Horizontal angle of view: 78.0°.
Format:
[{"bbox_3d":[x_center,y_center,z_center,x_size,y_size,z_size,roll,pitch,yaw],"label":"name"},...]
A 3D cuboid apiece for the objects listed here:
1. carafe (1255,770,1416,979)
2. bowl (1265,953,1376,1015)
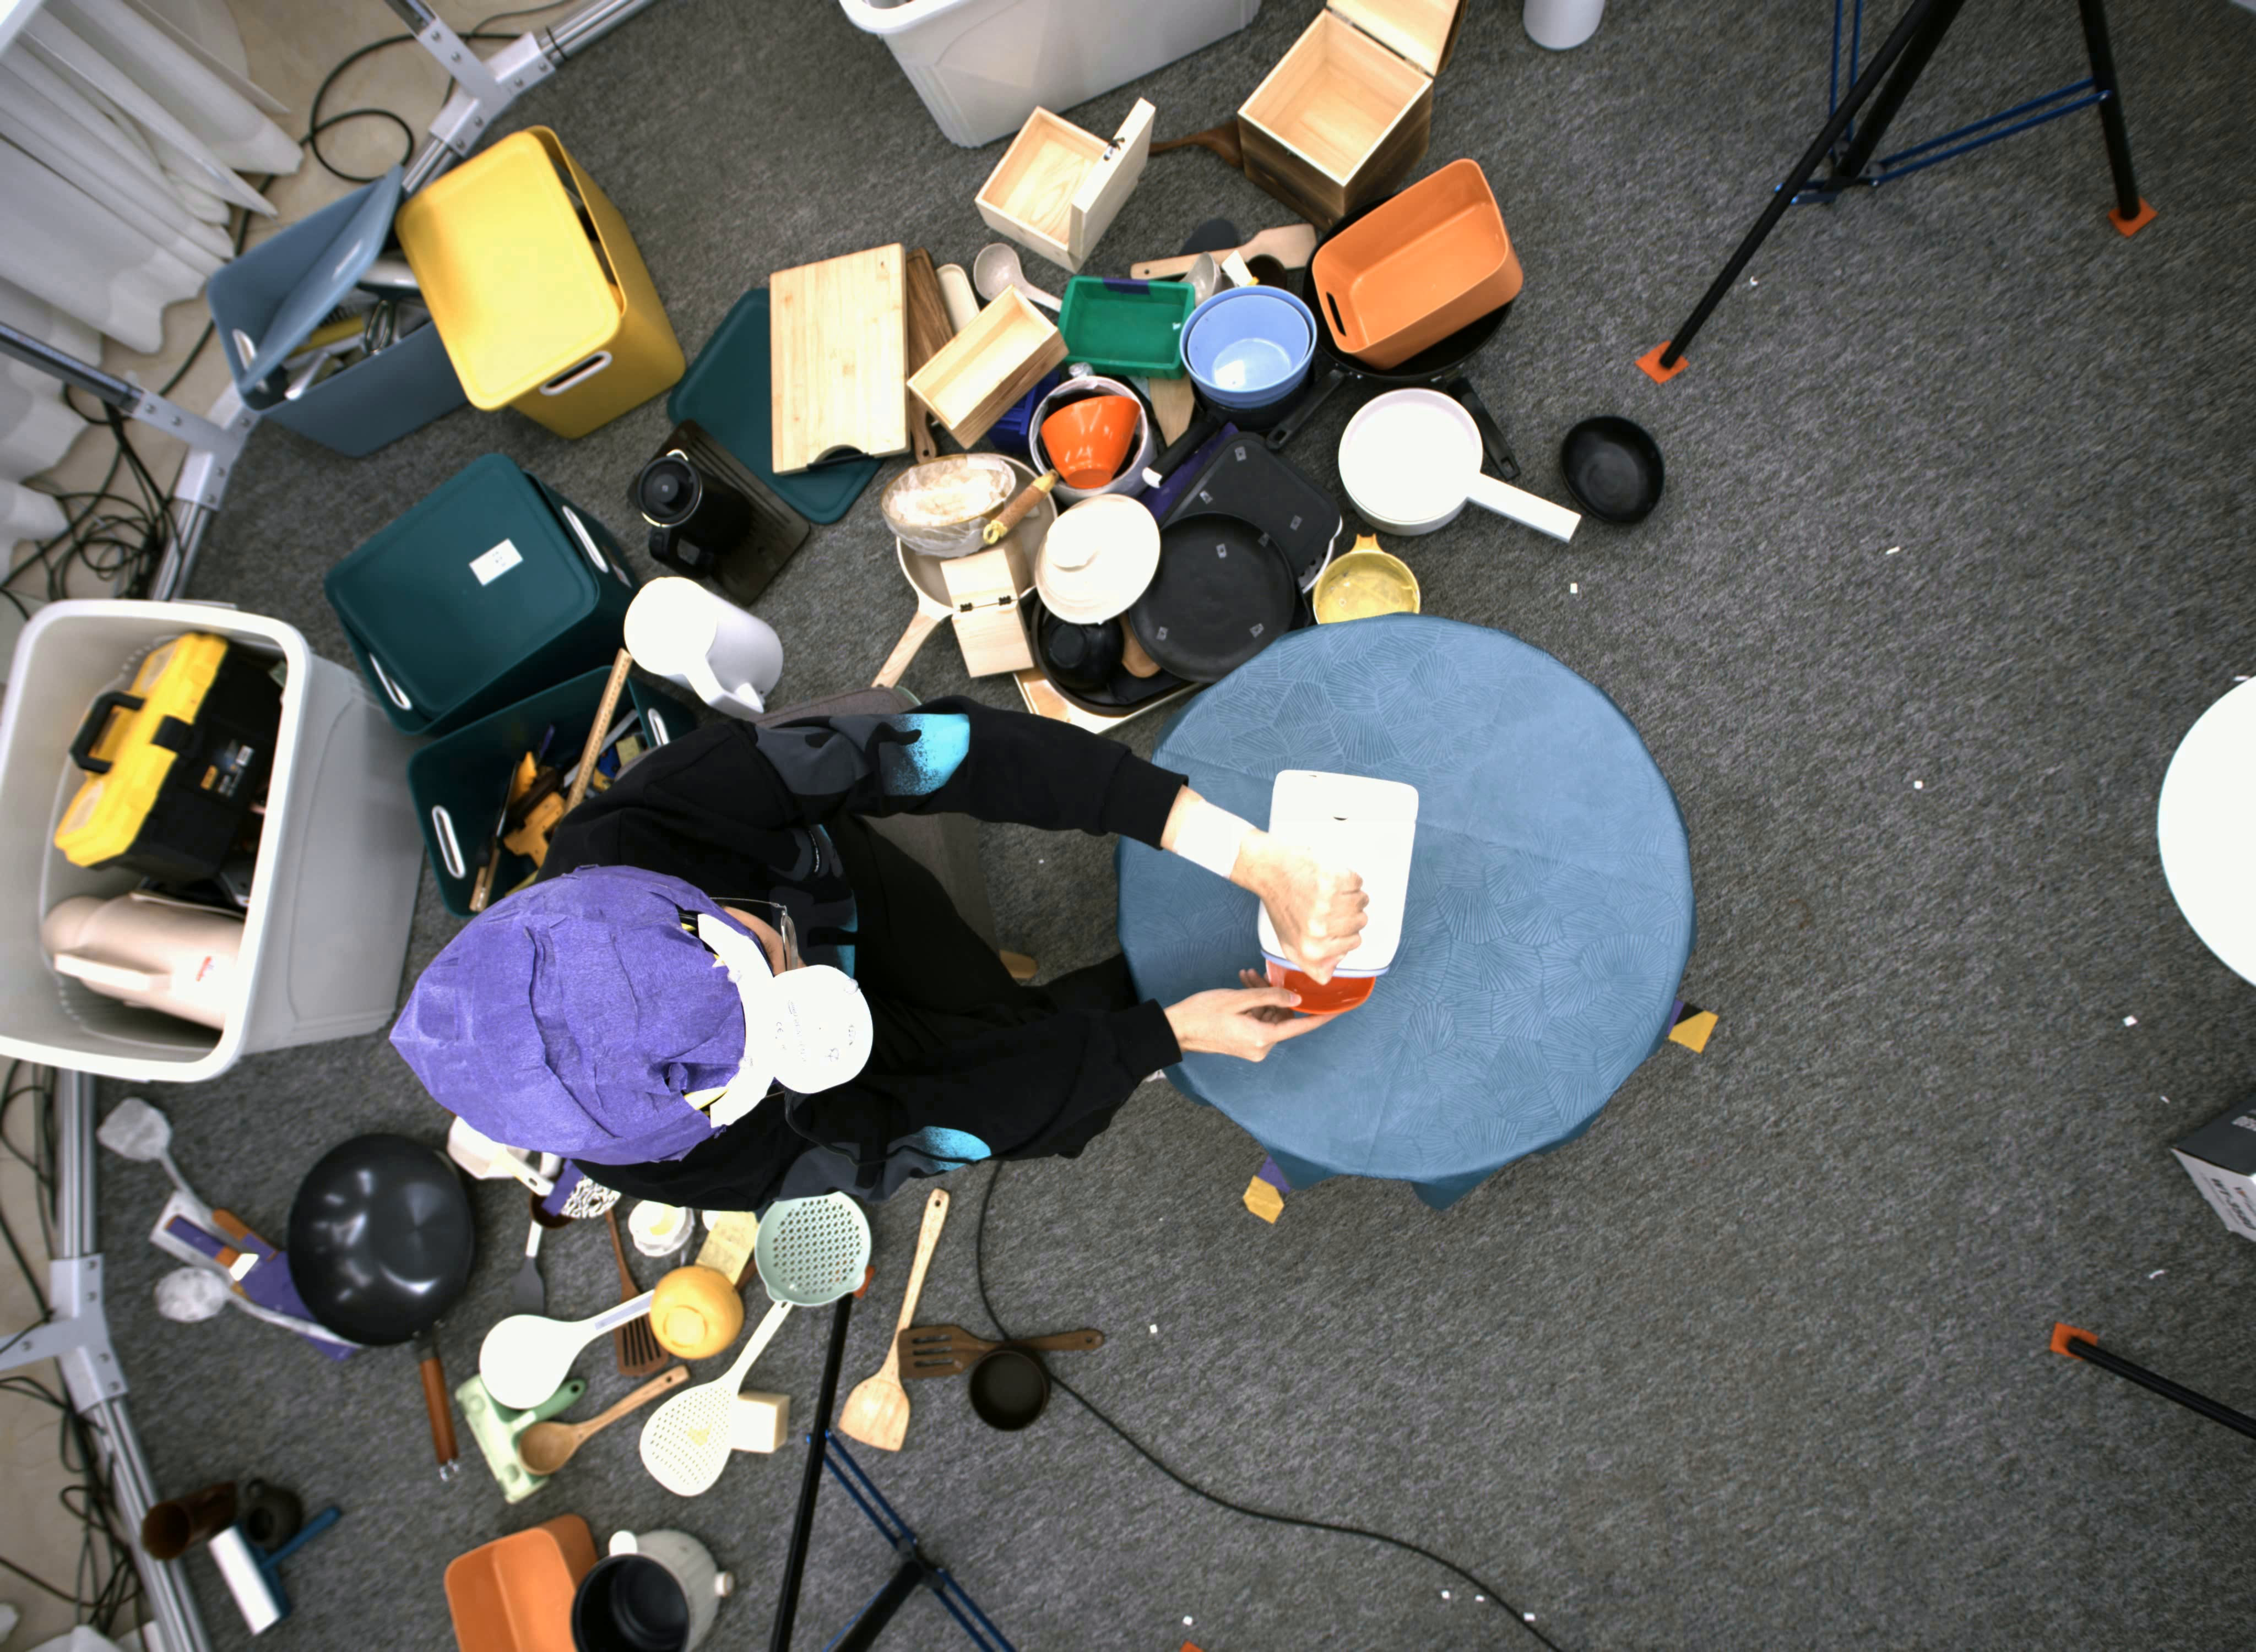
[{"bbox_3d":[0.181,0.042,1.233,0.132,0.189,0.183,7,96,13],"label":"carafe"},{"bbox_3d":[0.192,0.134,1.389,0.119,0.052,0.118,-1,81,4],"label":"bowl"}]
